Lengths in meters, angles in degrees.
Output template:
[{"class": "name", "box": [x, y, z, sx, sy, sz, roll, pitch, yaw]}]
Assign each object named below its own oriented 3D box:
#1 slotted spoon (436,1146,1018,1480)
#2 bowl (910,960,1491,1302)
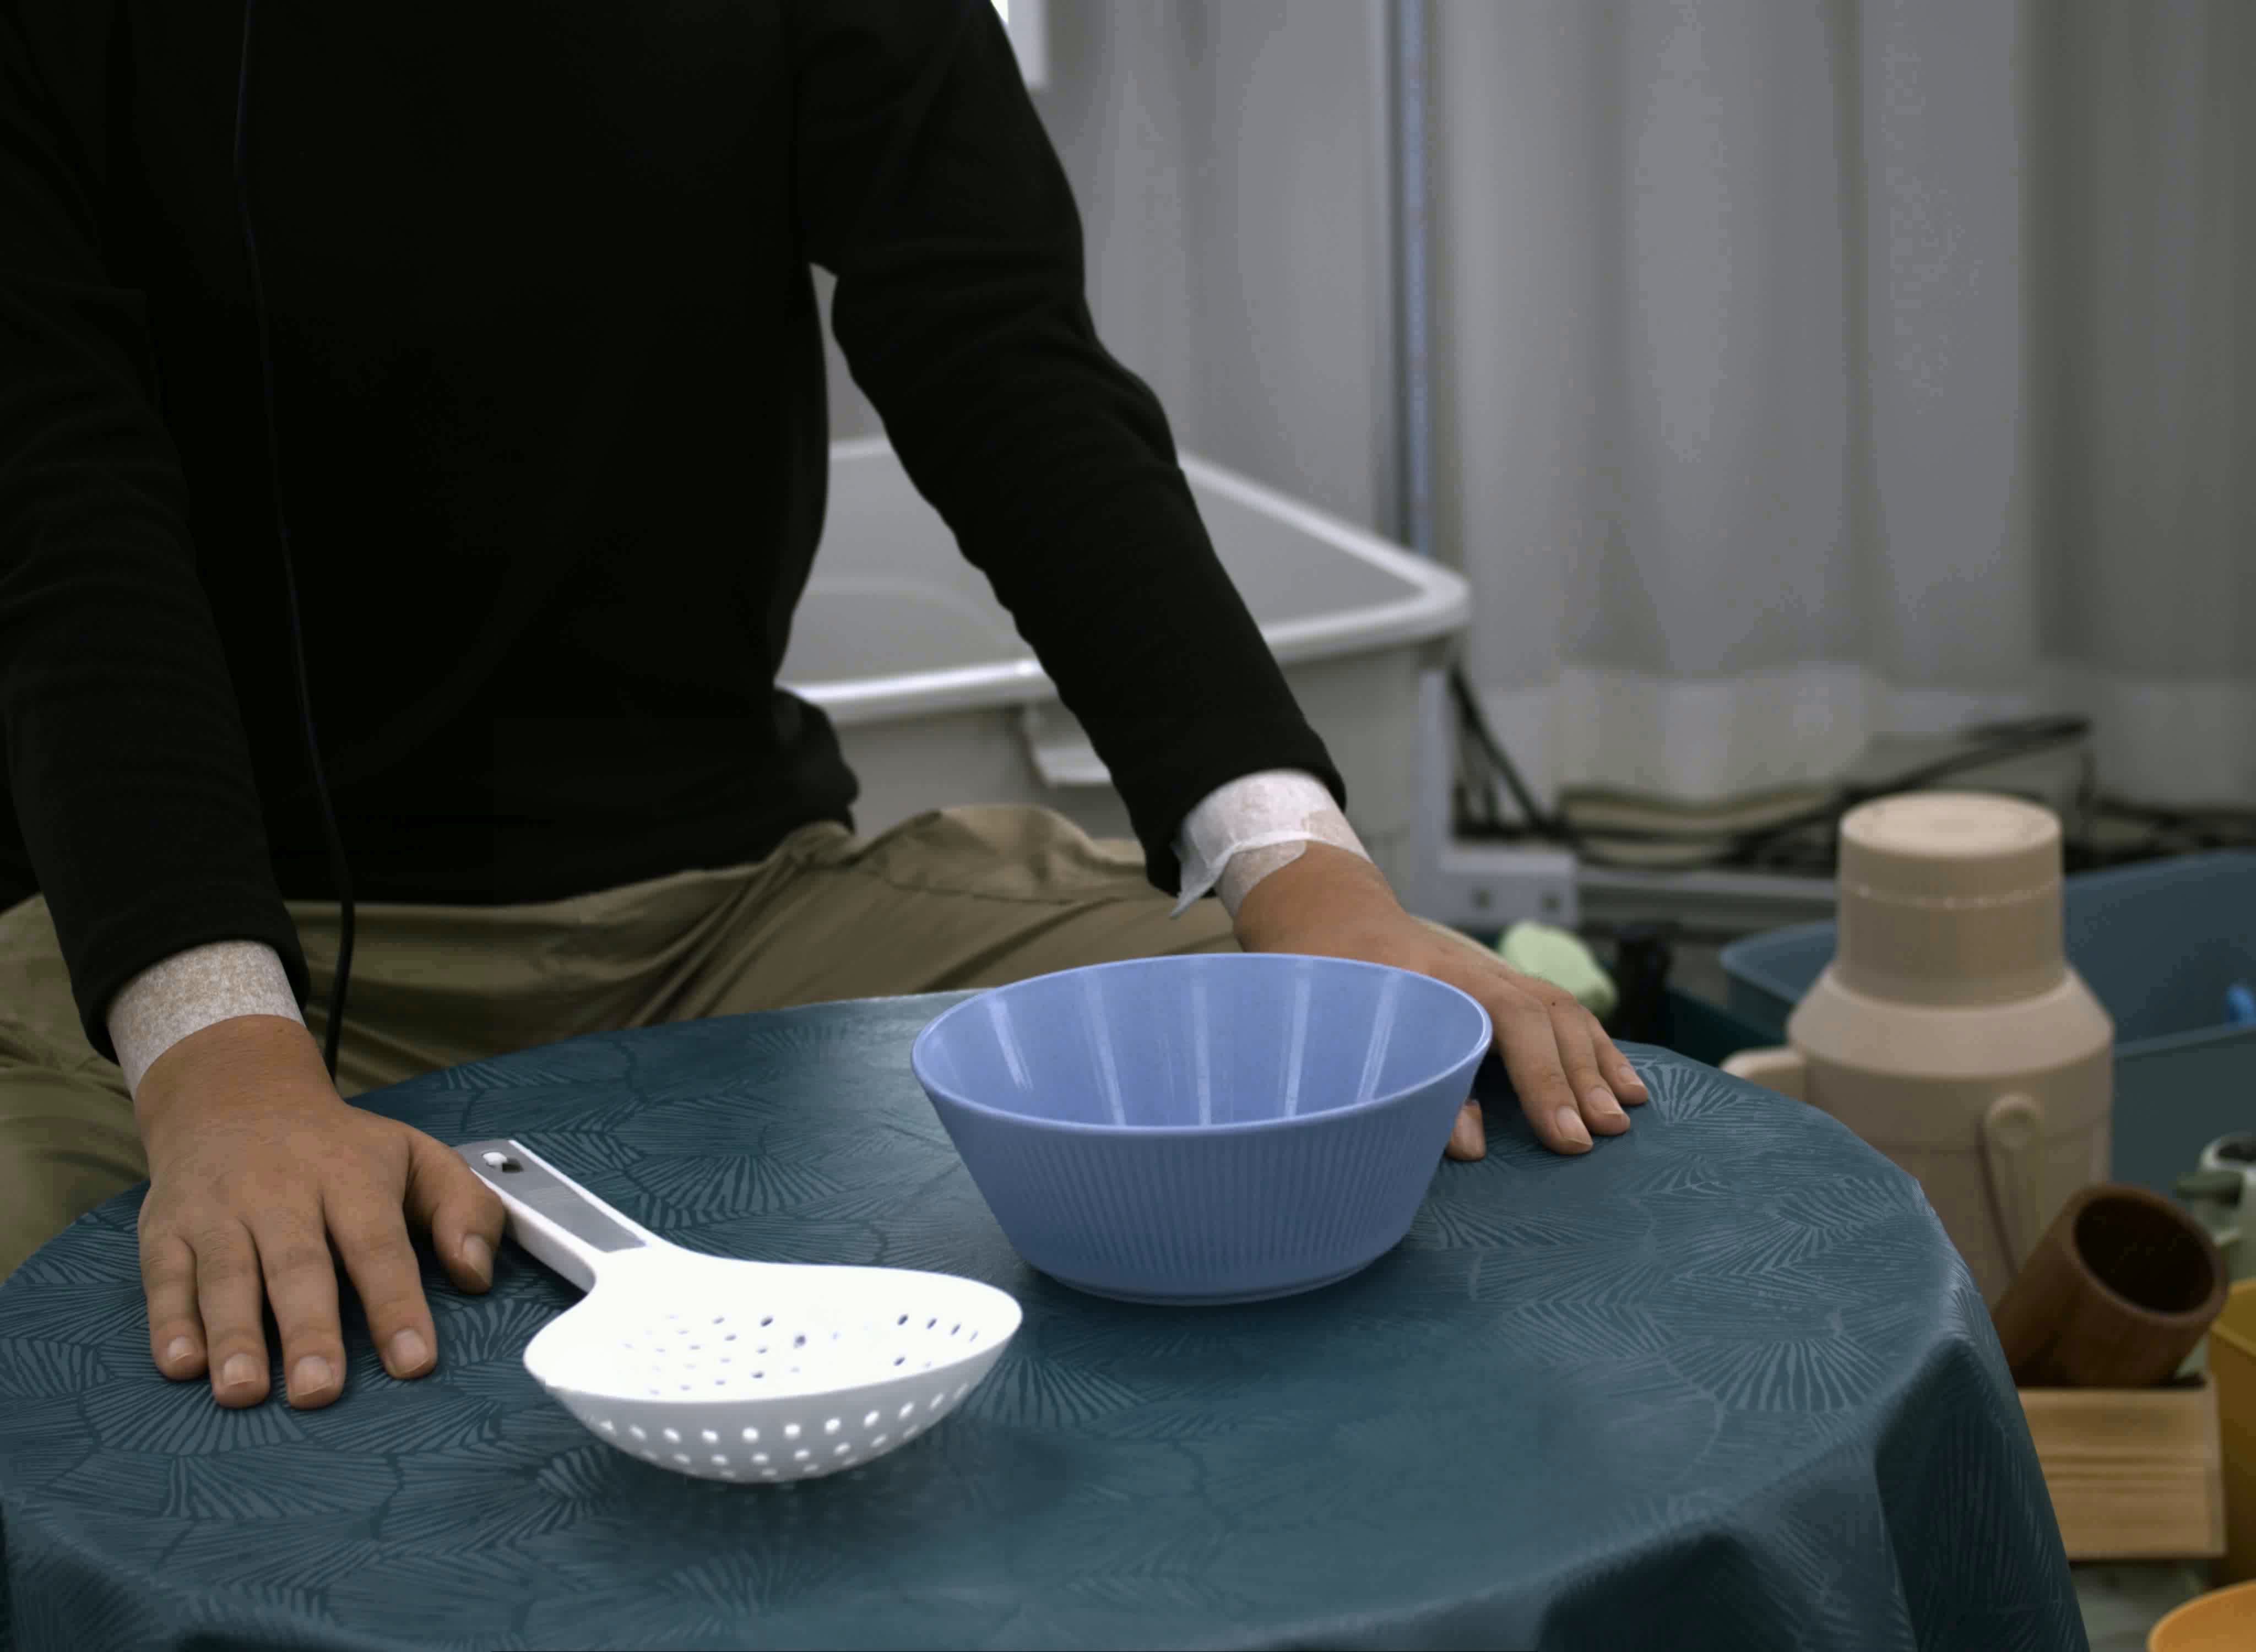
[{"class": "slotted spoon", "box": [-0.140, 0.132, 1.589, 0.135, 0.045, 0.352, -9, 15, -23]}, {"class": "bowl", "box": [0.023, 0.094, 1.652, 0.175, 0.070, 0.177, -3, 13, 1]}]
